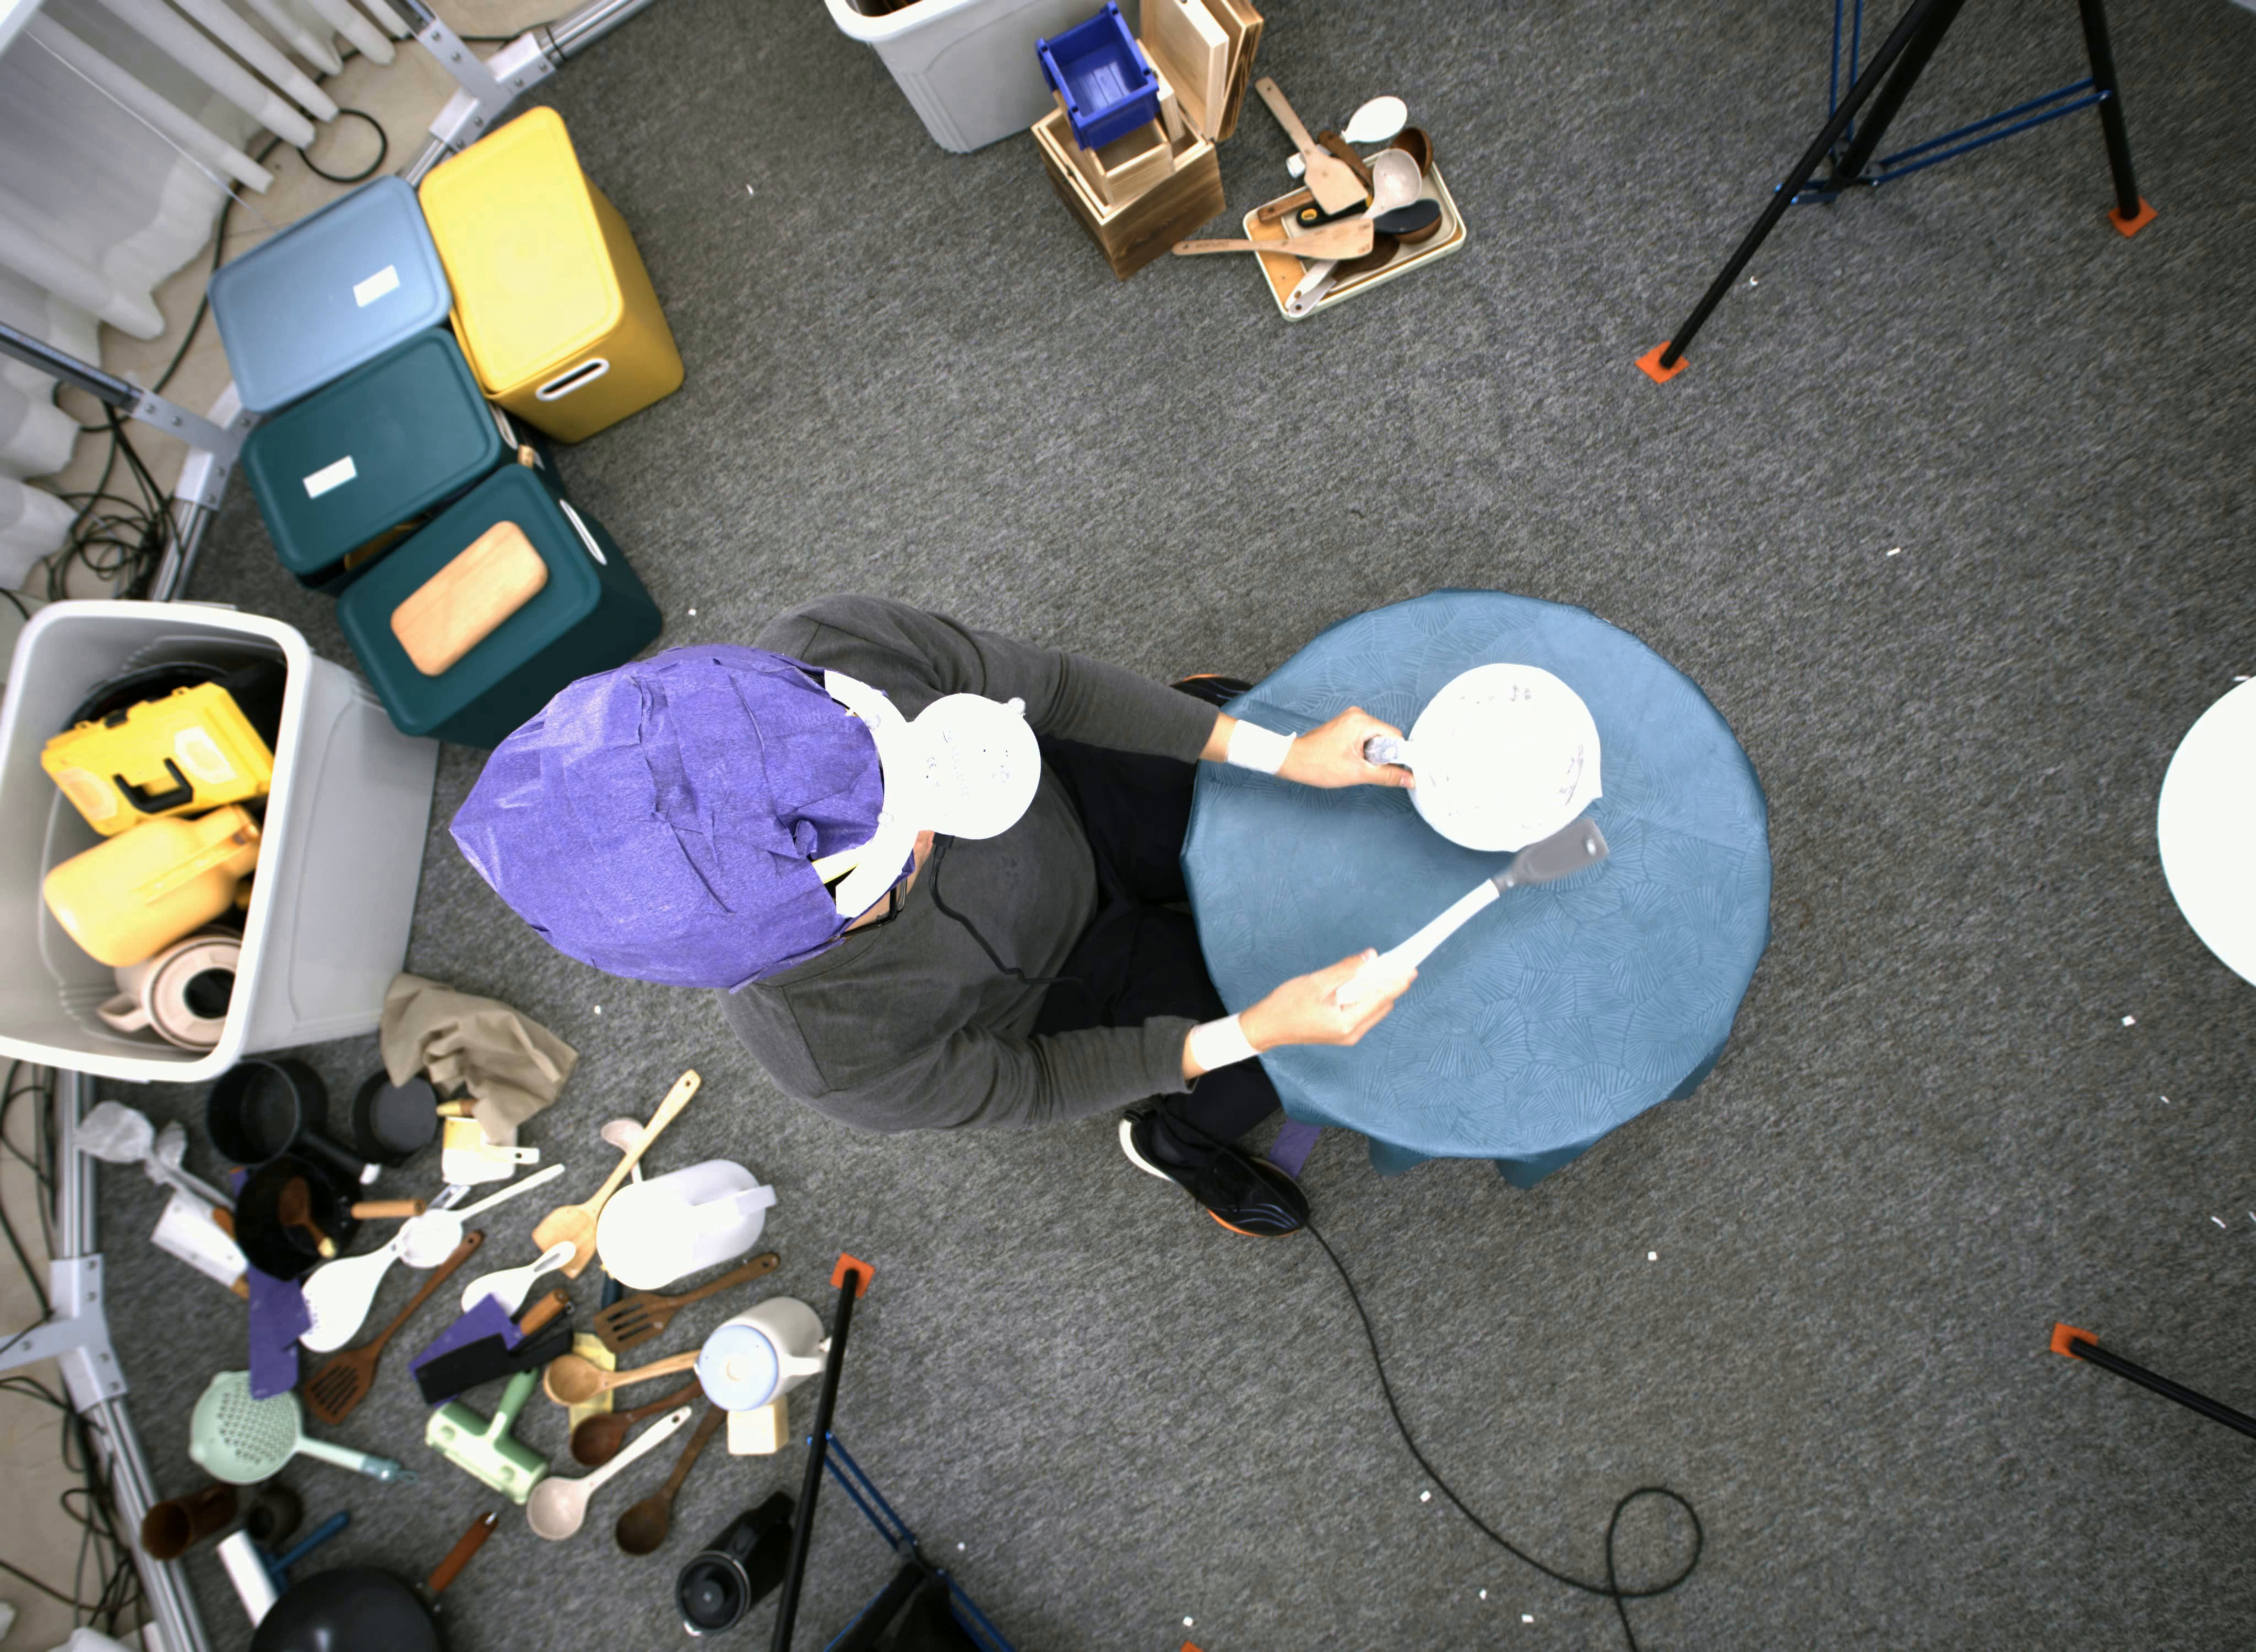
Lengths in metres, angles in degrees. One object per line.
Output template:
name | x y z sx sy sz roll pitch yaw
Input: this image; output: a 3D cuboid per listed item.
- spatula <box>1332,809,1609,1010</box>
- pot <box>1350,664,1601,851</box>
spatula | 0.315 0.075 1.281 0.289 0.031 0.059 -36 117 9
pot | 0.342 -0.067 1.377 0.234 0.136 0.178 3 89 8
